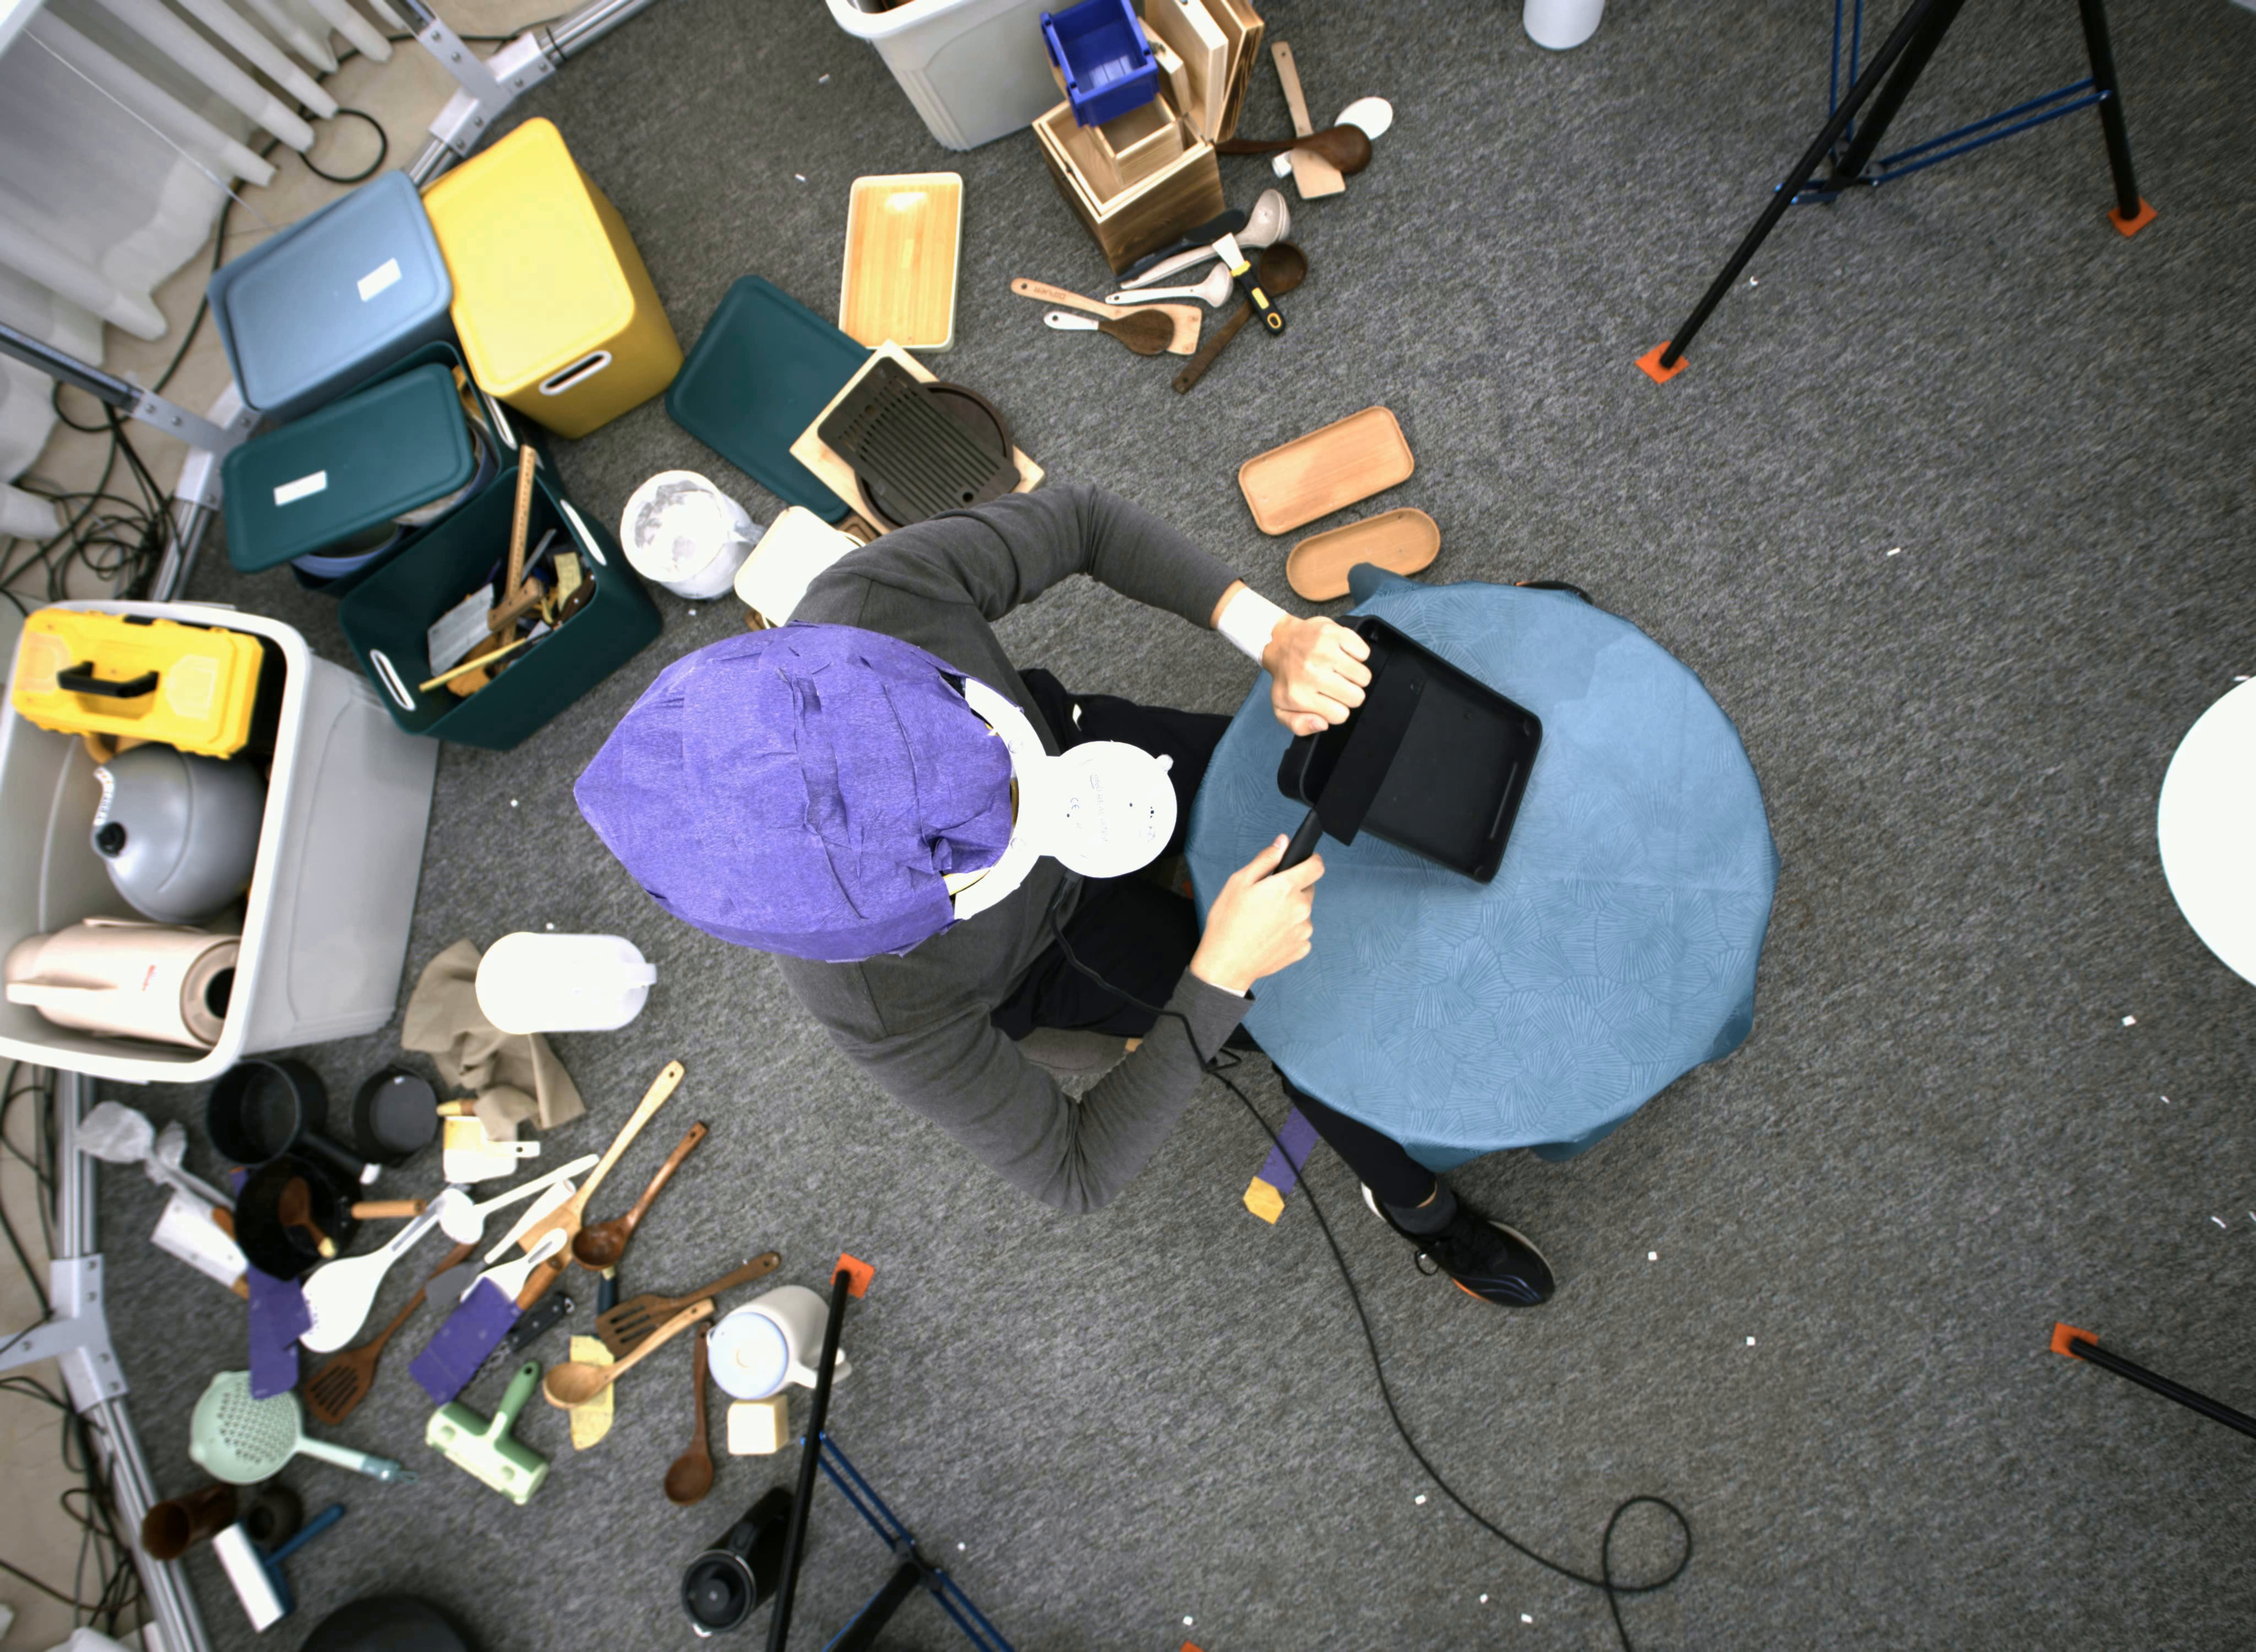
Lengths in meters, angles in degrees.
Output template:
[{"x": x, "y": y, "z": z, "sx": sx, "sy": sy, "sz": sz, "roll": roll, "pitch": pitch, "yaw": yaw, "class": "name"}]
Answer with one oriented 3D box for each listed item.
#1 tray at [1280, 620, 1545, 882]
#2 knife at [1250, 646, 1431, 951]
[{"x": 0.285, "y": -0.068, "z": 1.335, "sx": 0.037, "sy": 0.318, "sz": 0.184, "roll": 19, "pitch": 91, "yaw": 51, "class": "tray"}, {"x": 0.193, "y": -0.023, "z": 1.255, "sx": 0.021, "sy": 0.081, "sz": 0.301, "roll": 27, "pitch": 86, "yaw": 52, "class": "knife"}]
